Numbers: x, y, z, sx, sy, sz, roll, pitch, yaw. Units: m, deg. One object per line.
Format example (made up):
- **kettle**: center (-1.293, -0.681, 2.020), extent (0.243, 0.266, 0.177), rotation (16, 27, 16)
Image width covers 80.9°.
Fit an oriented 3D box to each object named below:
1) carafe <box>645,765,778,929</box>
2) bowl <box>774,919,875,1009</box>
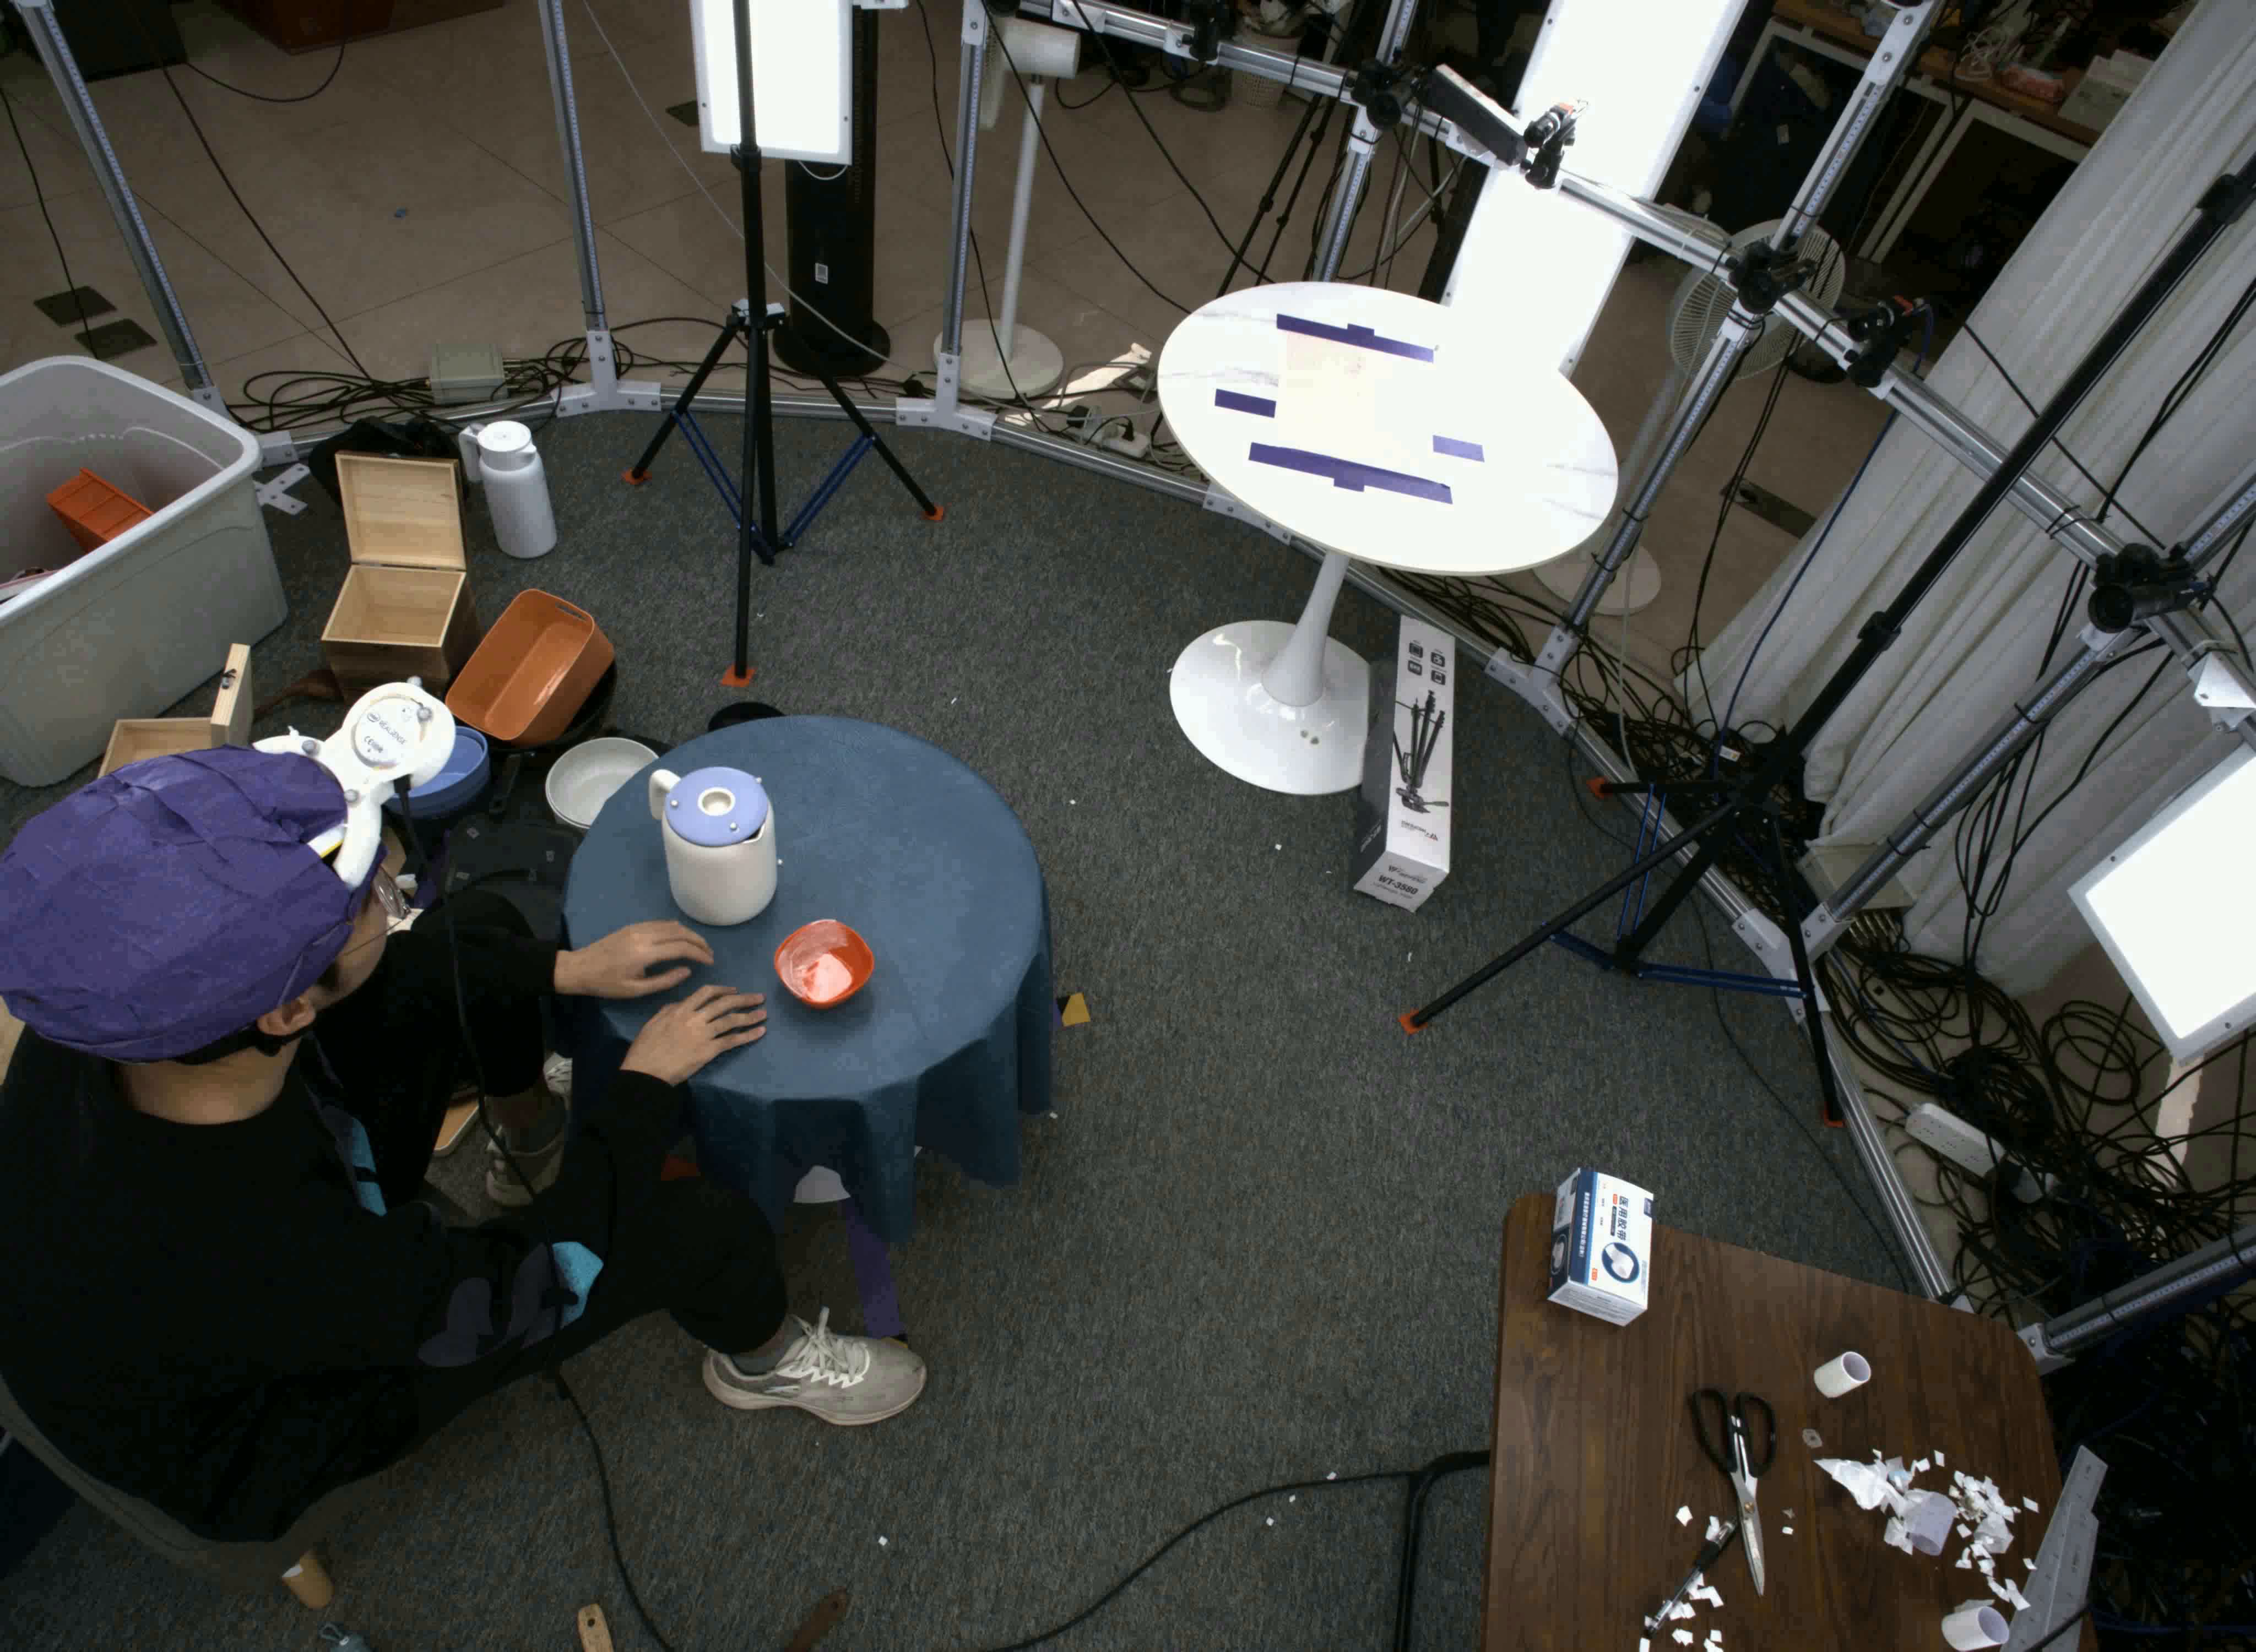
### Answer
- **carafe**: center (-0.520, 0.012, 1.585), extent (0.187, 0.187, 0.132), rotation (30, 51, 13)
- **bowl**: center (-0.370, 0.175, 1.581), extent (0.119, 0.052, 0.117), rotation (10, 52, -11)
